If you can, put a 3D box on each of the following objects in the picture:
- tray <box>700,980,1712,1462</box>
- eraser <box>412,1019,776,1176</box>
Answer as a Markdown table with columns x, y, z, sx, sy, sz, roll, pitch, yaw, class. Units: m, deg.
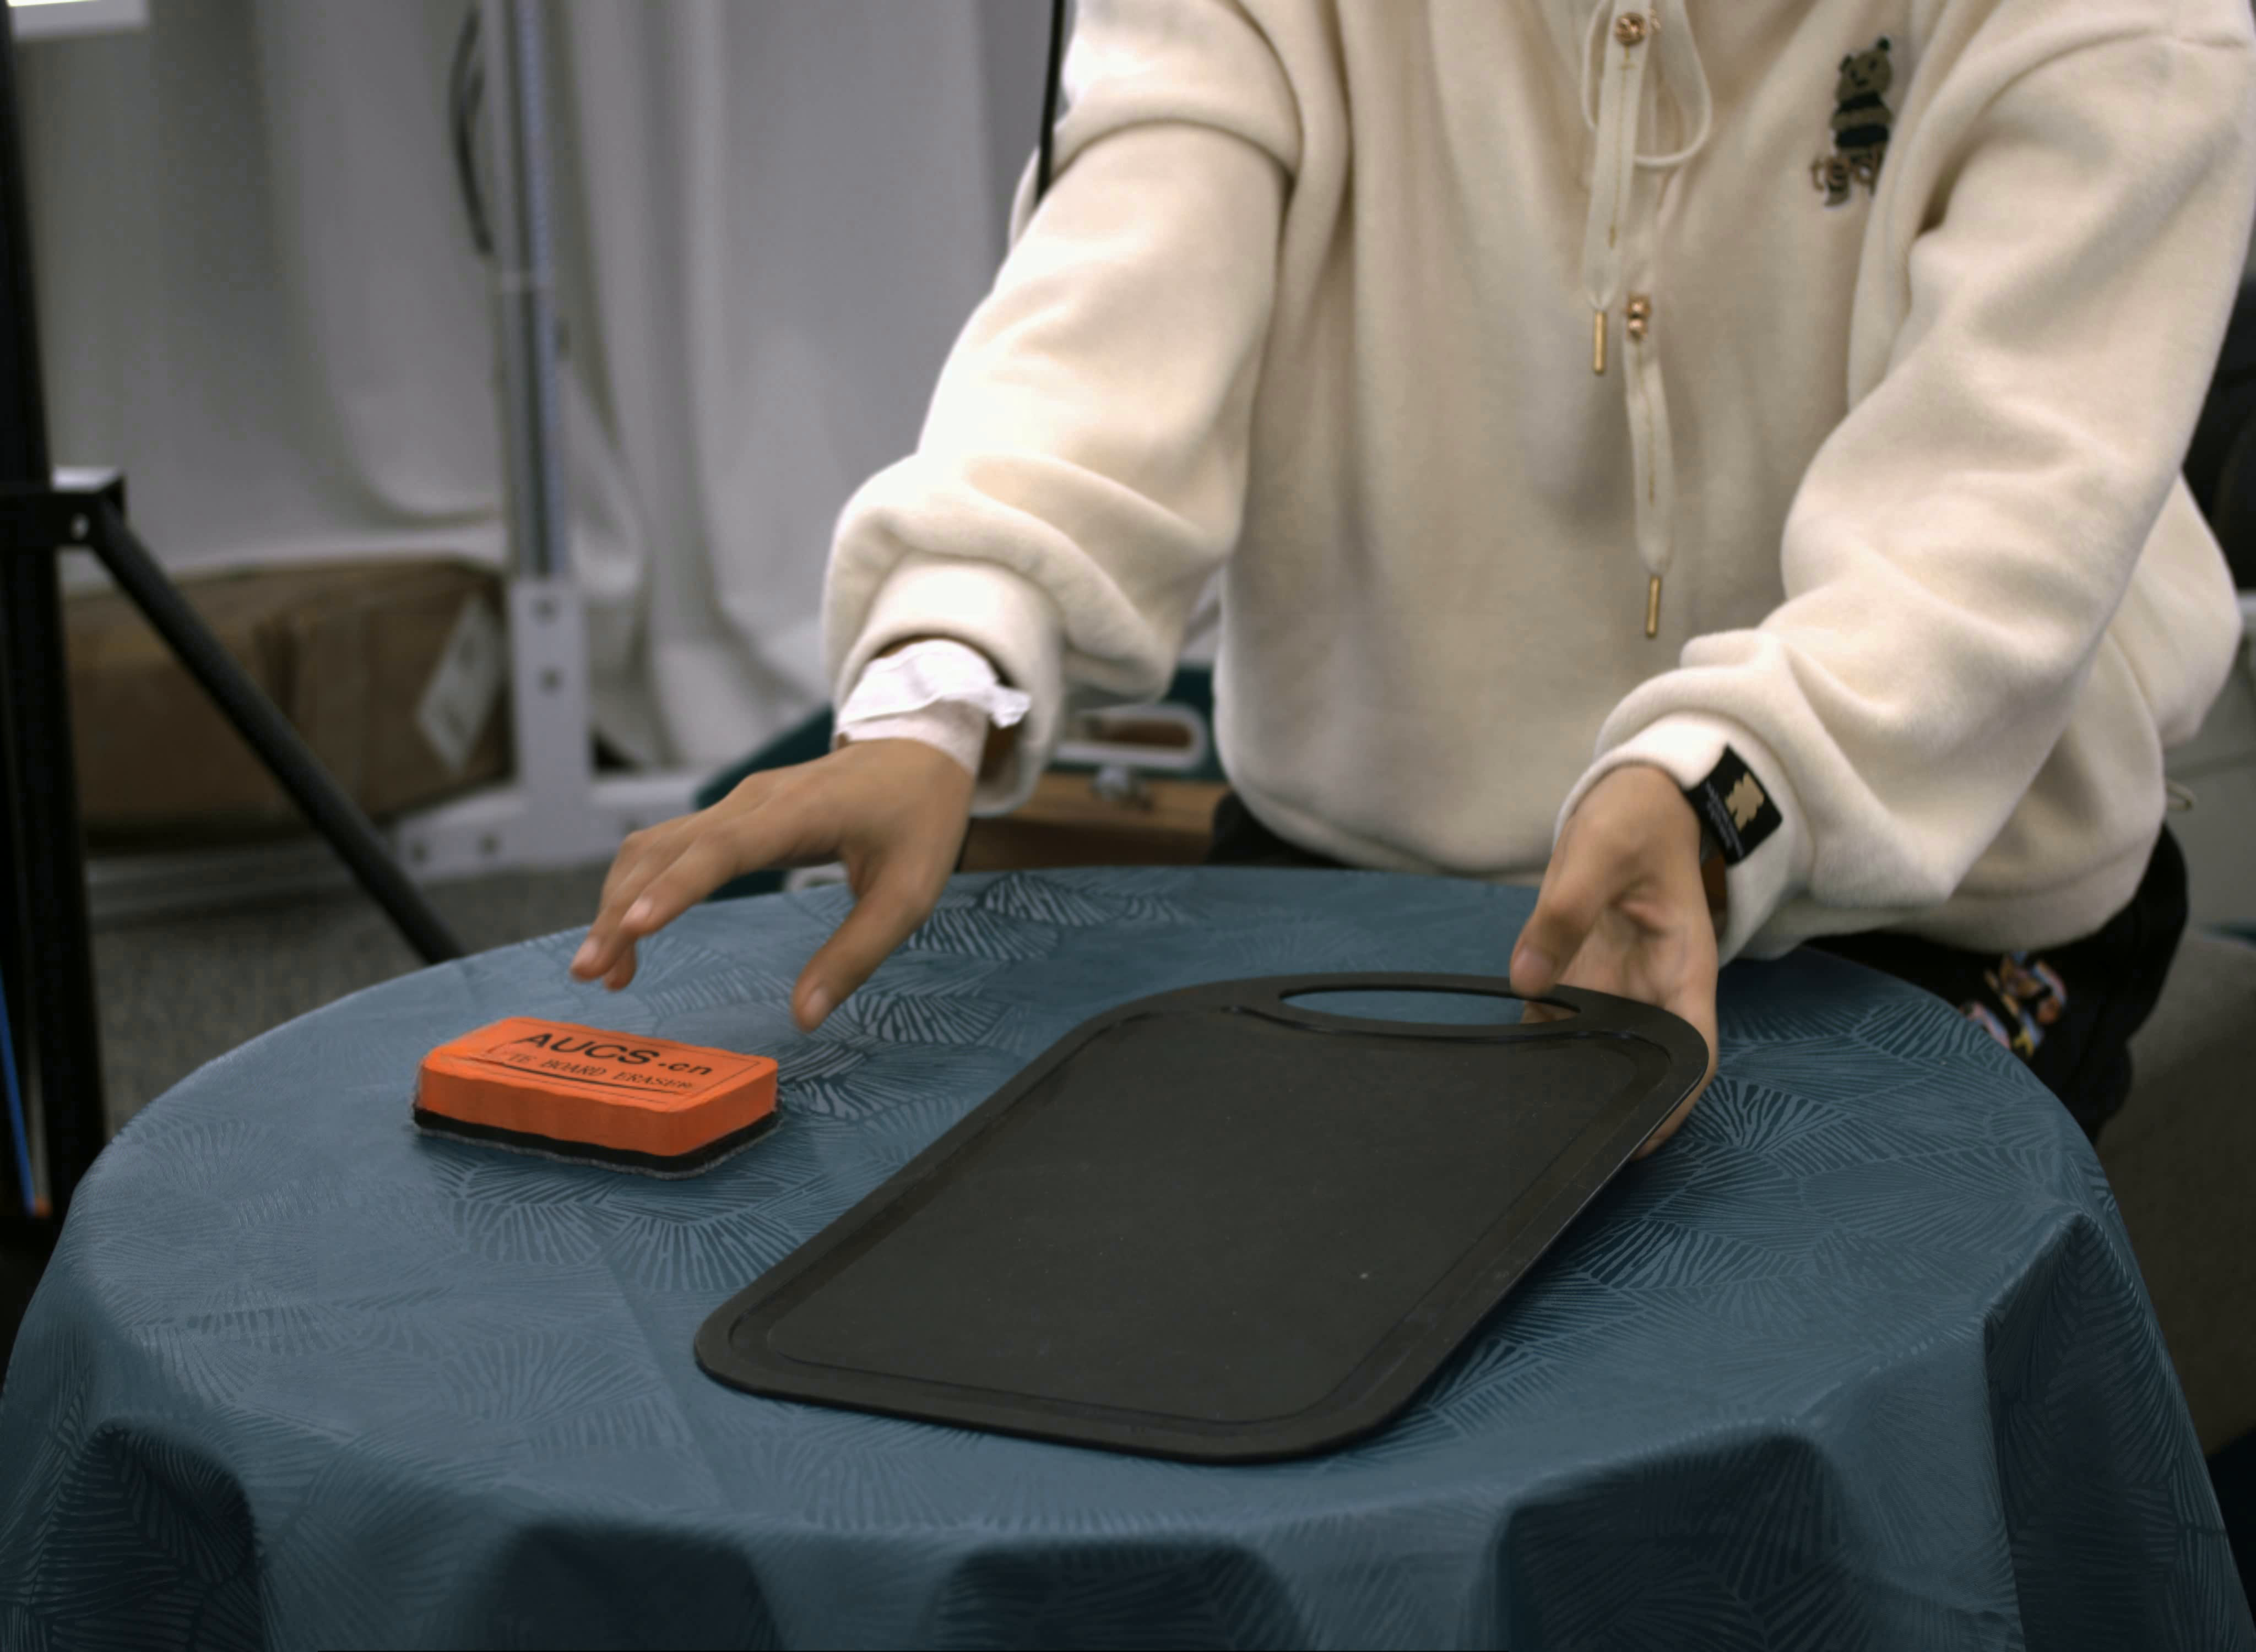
| x | y | z | sx | sy | sz | roll | pitch | yaw | class |
| --- | --- | --- | --- | --- | --- | --- | --- | --- | --- |
| 0.031 | 0.102 | 1.516 | 0.214 | 0.010 | 0.320 | 4 | 21 | 28 | tray |
| -0.163 | 0.083 | 1.632 | 0.110 | 0.023 | 0.058 | 8 | 16 | 33 | eraser |
